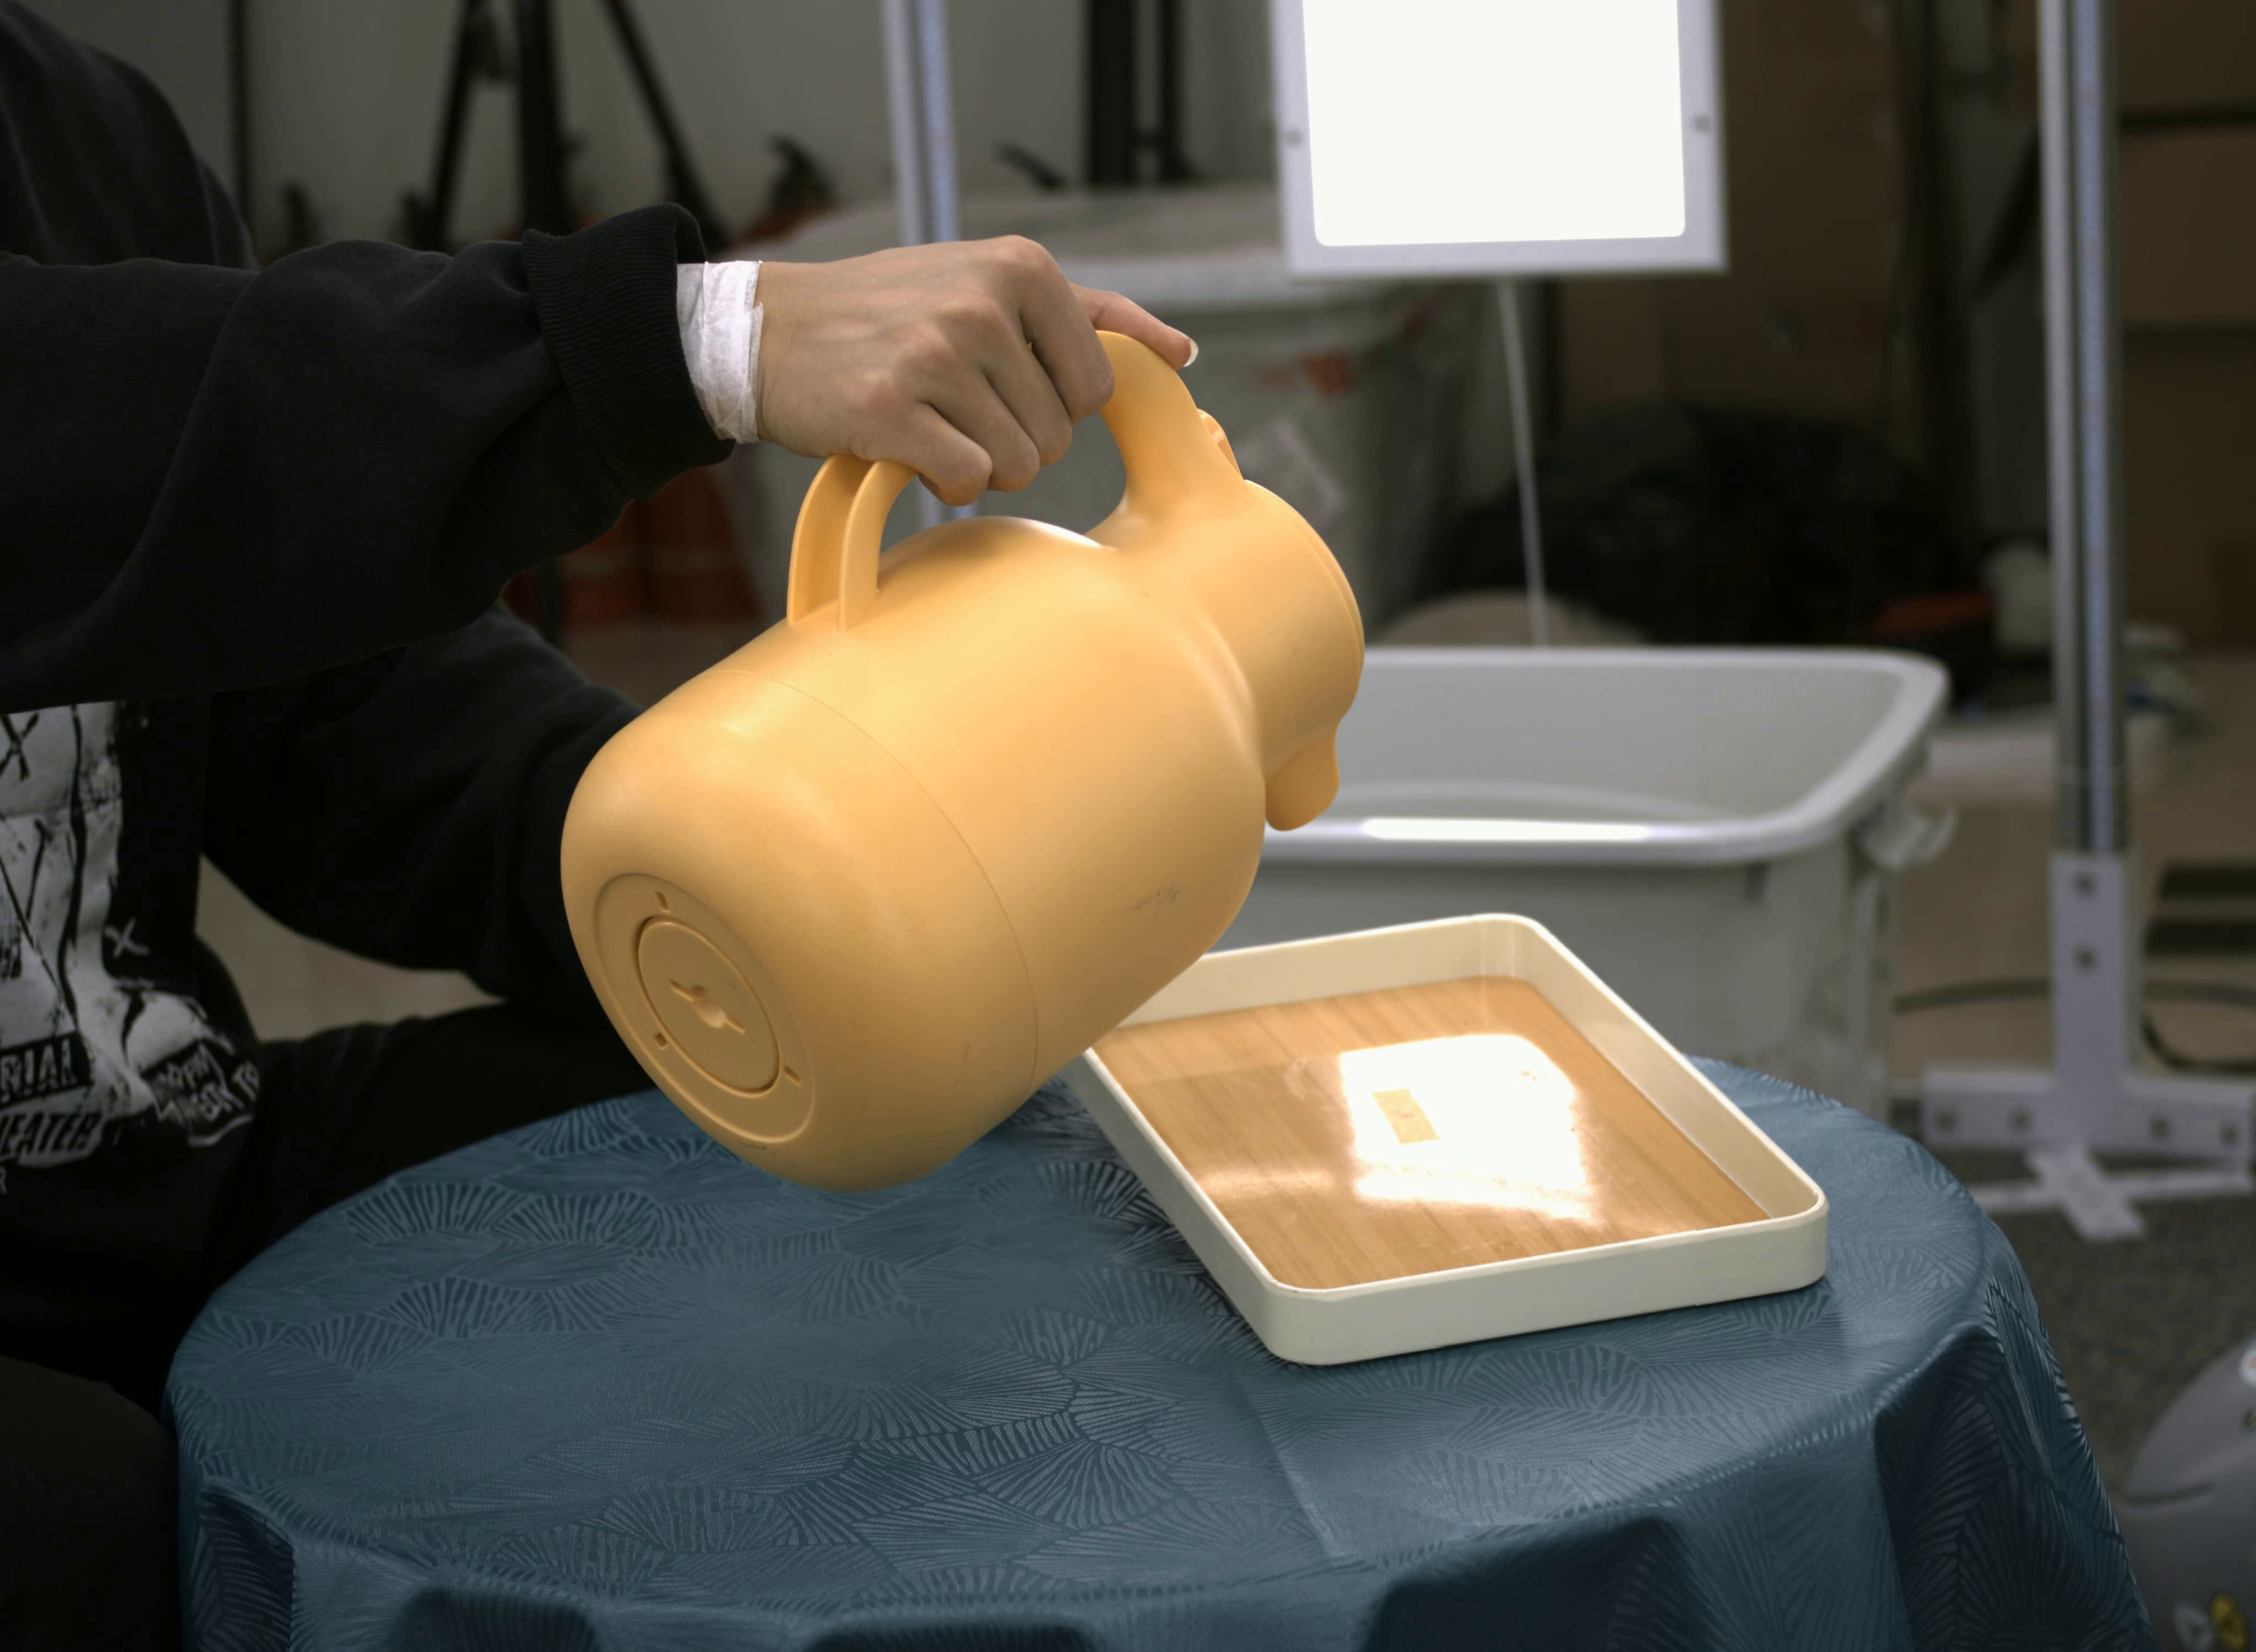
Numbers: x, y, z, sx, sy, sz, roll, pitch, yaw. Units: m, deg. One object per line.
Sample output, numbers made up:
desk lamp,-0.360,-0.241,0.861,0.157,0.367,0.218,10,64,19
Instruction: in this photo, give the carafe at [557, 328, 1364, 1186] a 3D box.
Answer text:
carafe,-0.048,-0.030,1.687,0.255,0.202,0.167,-36,24,-33

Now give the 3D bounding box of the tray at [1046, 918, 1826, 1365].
tray,0.096,0.101,1.853,0.189,0.027,0.303,-8,20,-13
